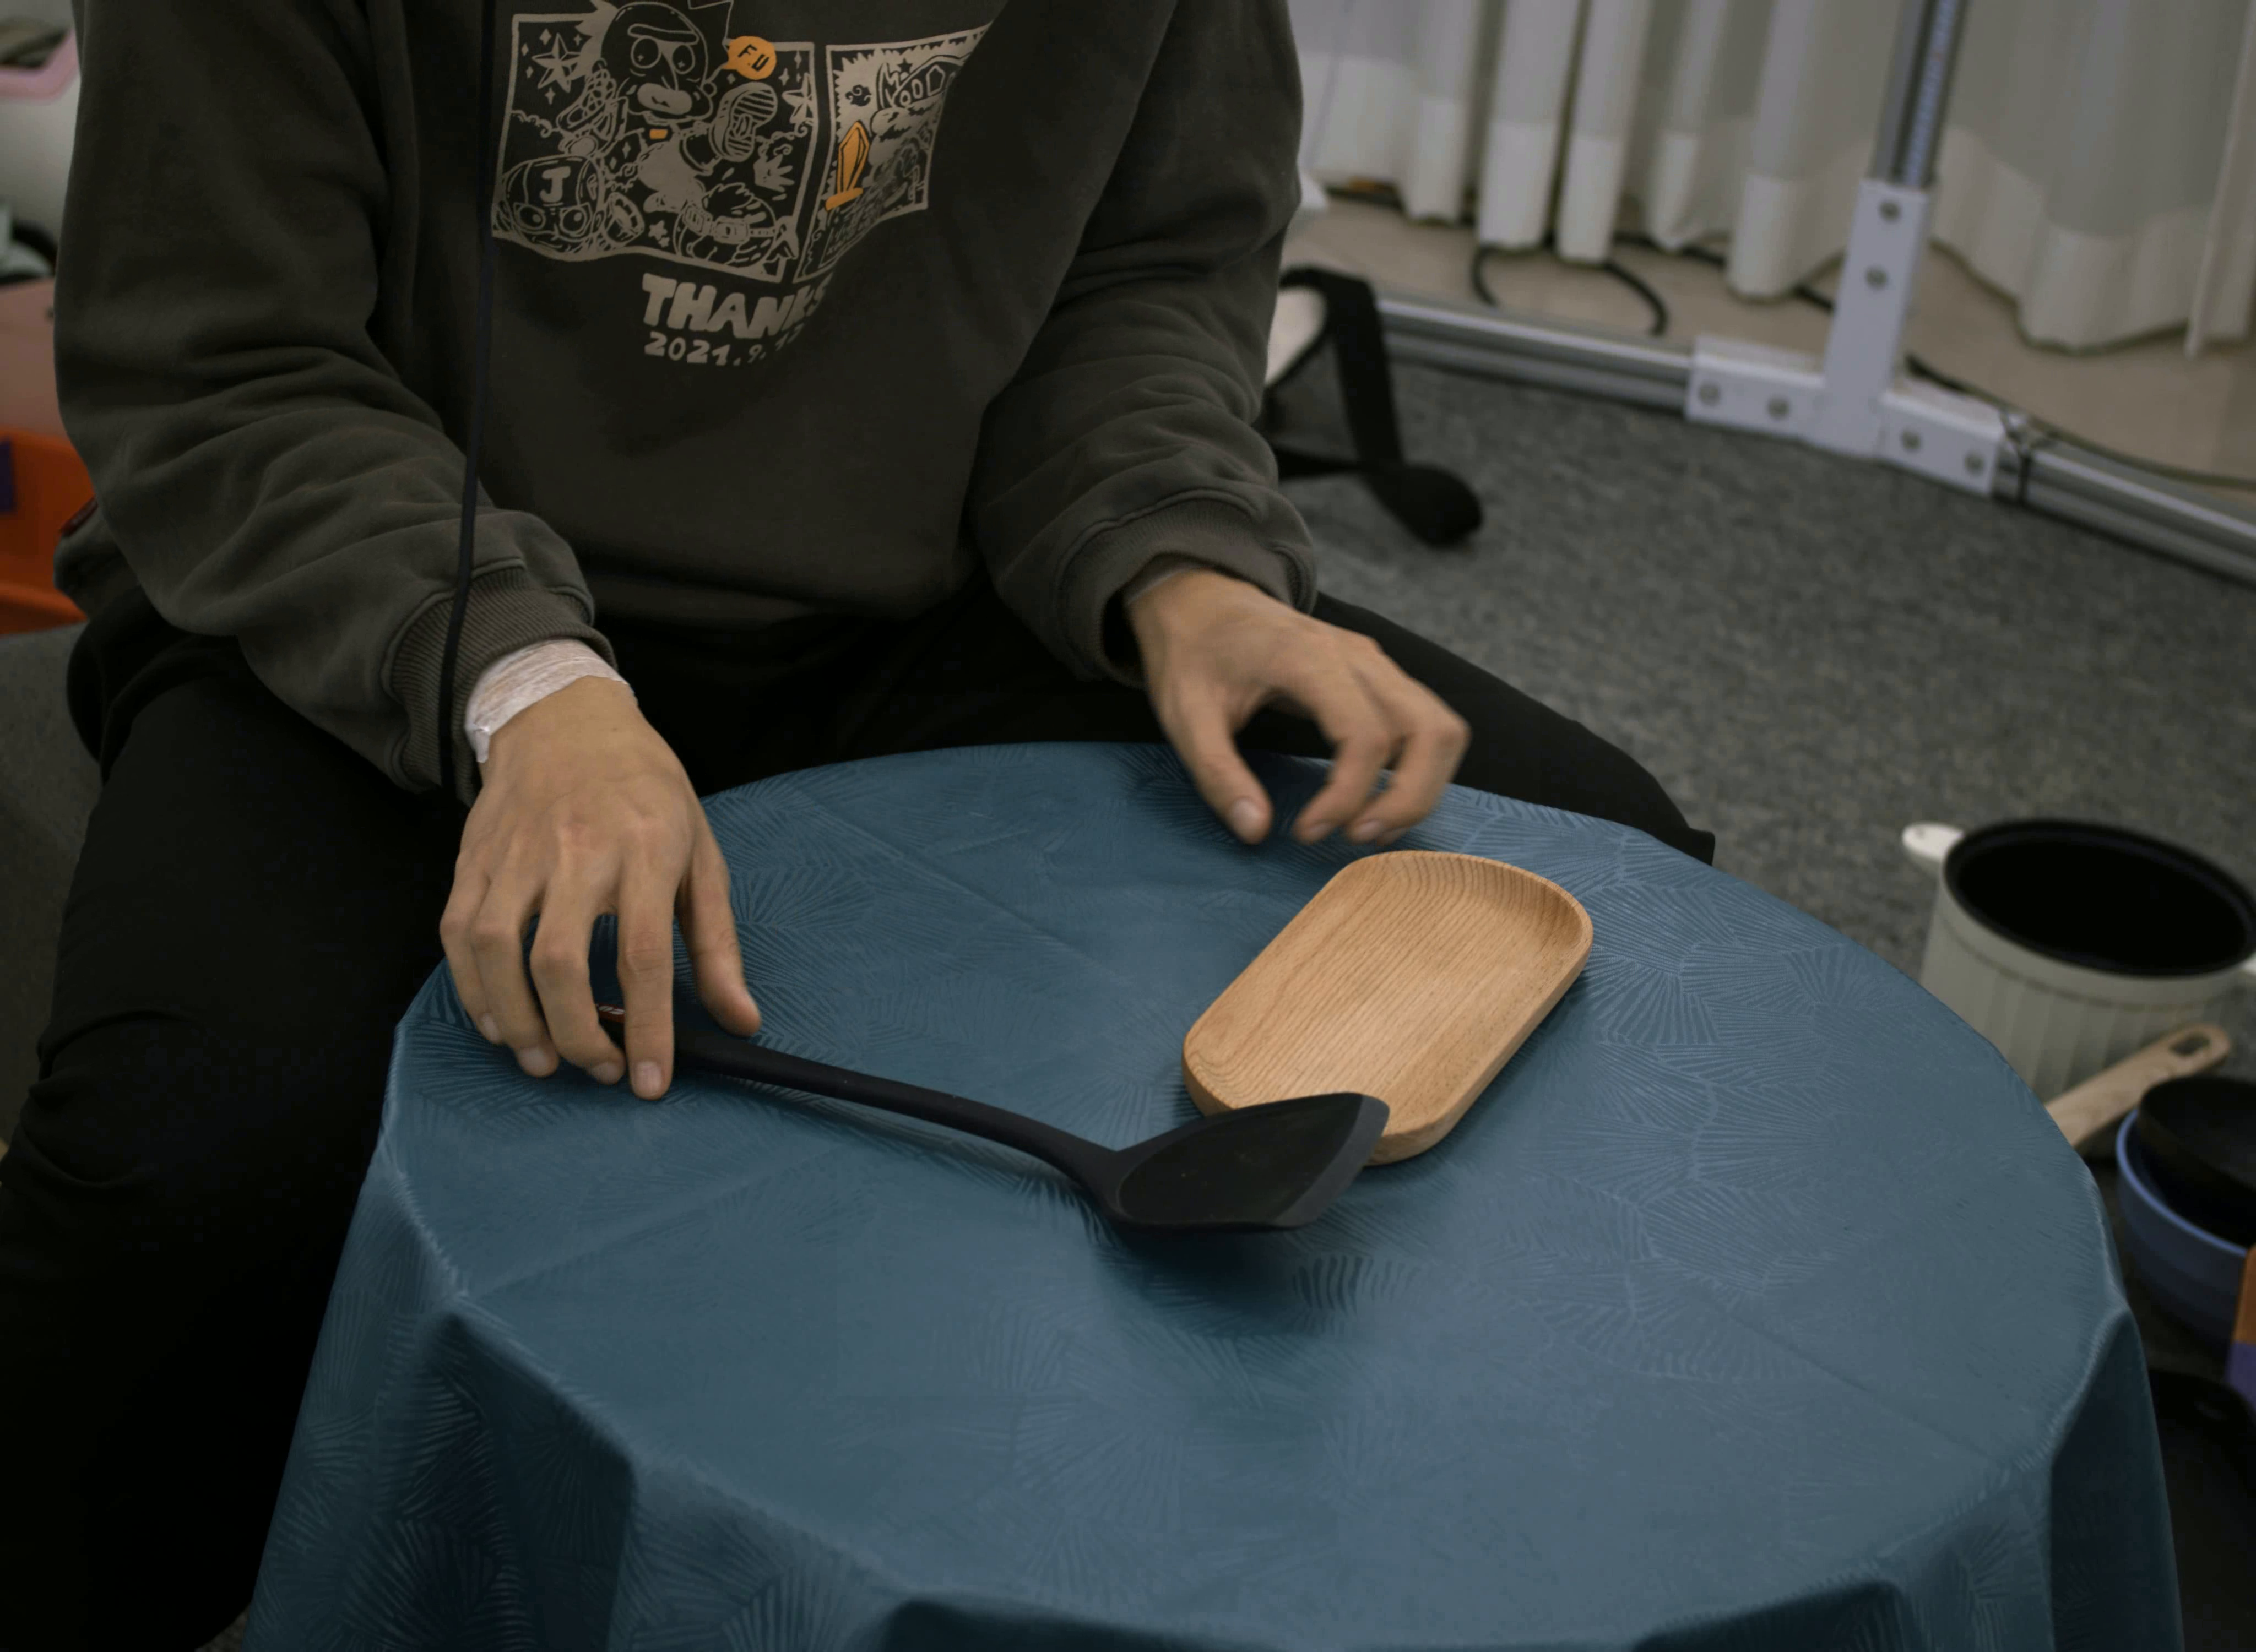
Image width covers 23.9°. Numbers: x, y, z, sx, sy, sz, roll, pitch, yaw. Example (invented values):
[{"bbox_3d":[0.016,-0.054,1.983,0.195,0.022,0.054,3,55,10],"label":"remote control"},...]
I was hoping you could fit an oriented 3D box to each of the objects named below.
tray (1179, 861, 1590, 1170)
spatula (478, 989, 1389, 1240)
[{"bbox_3d":[0.094,0.067,1.921,0.102,0.020,0.231,16,29,19],"label":"tray"},{"bbox_3d":[-0.075,0.089,1.816,0.327,0.040,0.100,15,26,17],"label":"spatula"}]
